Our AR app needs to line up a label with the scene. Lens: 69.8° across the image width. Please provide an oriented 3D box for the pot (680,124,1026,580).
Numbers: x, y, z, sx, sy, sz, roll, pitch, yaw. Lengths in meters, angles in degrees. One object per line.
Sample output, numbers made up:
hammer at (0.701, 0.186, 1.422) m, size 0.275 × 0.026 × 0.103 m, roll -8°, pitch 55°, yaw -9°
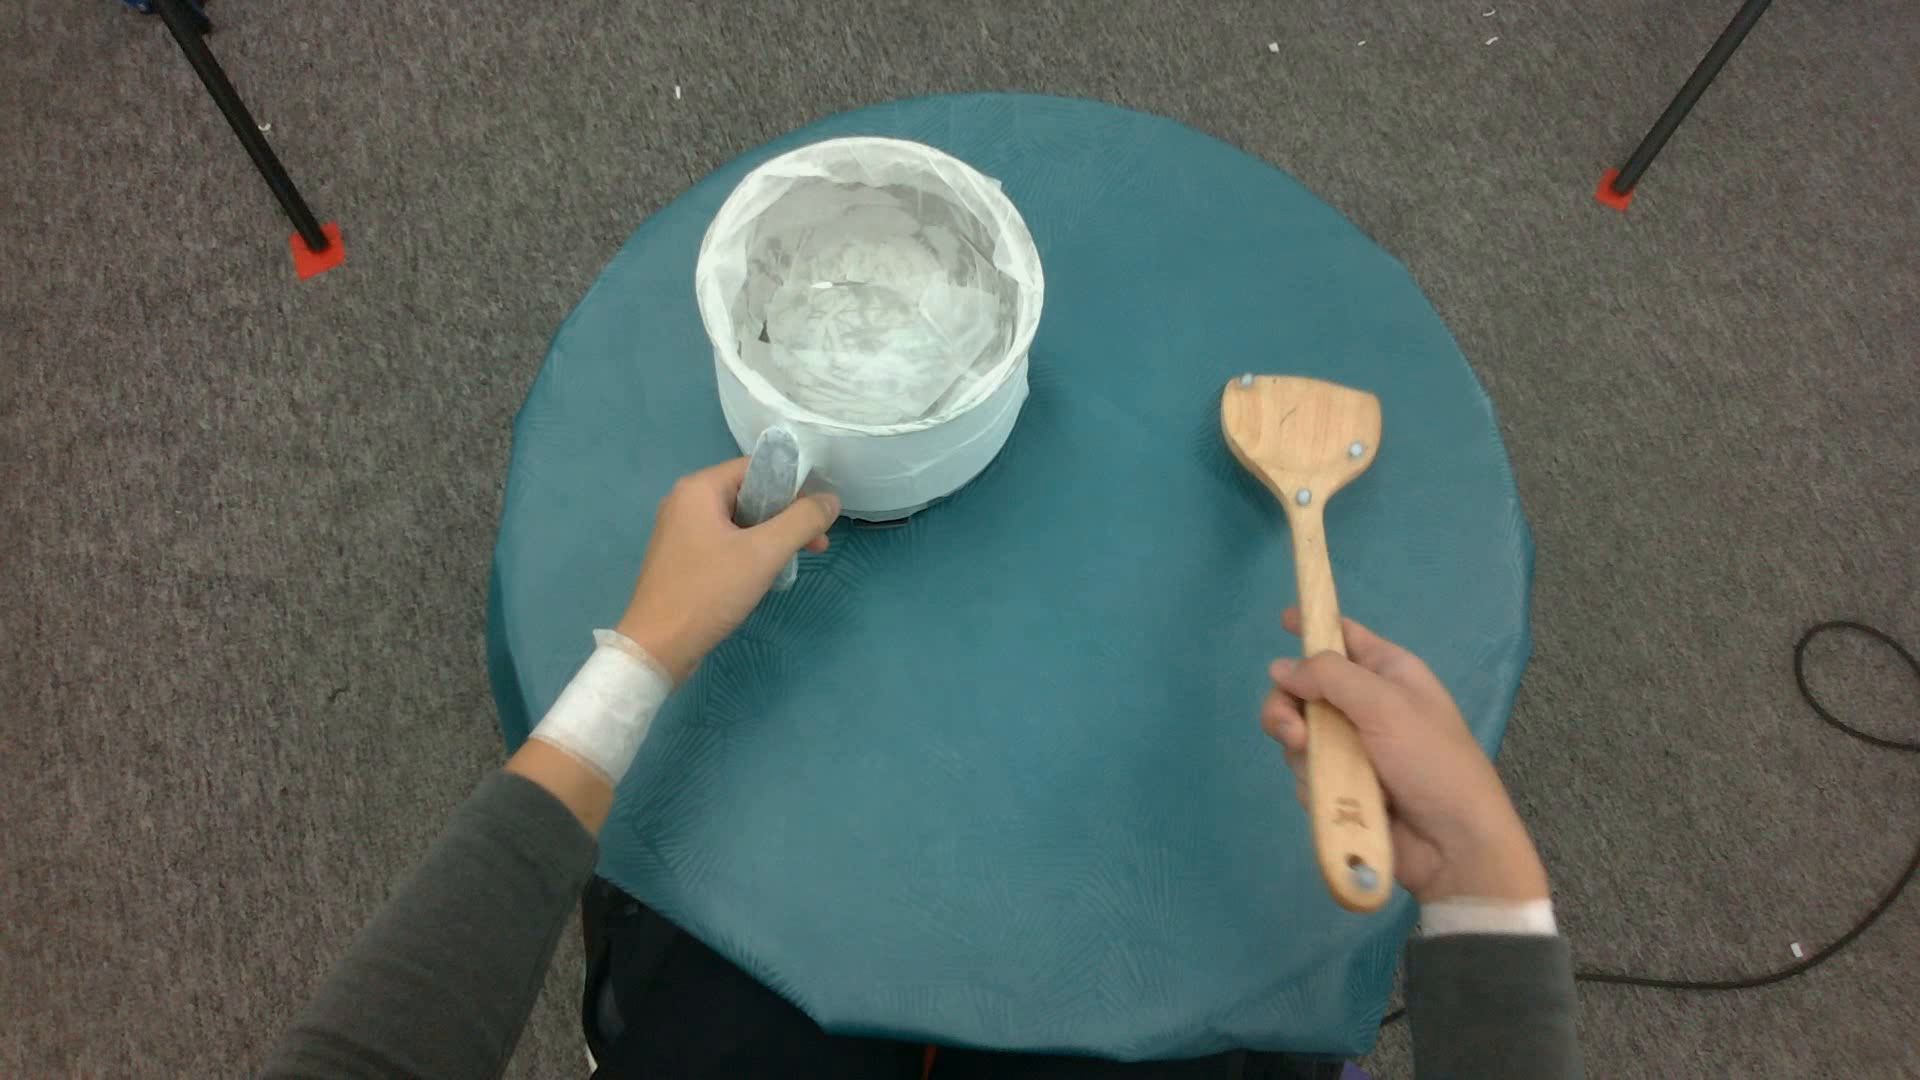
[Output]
pot at (-0.069, -0.093, 0.751) m, size 0.178 × 0.136 × 0.234 m, roll 23°, pitch 69°, yaw 5°

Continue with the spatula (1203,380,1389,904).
spatula at (0.178, 0.023, 0.691) m, size 0.096 × 0.018 × 0.392 m, roll 6°, pitch 36°, yaw 2°
